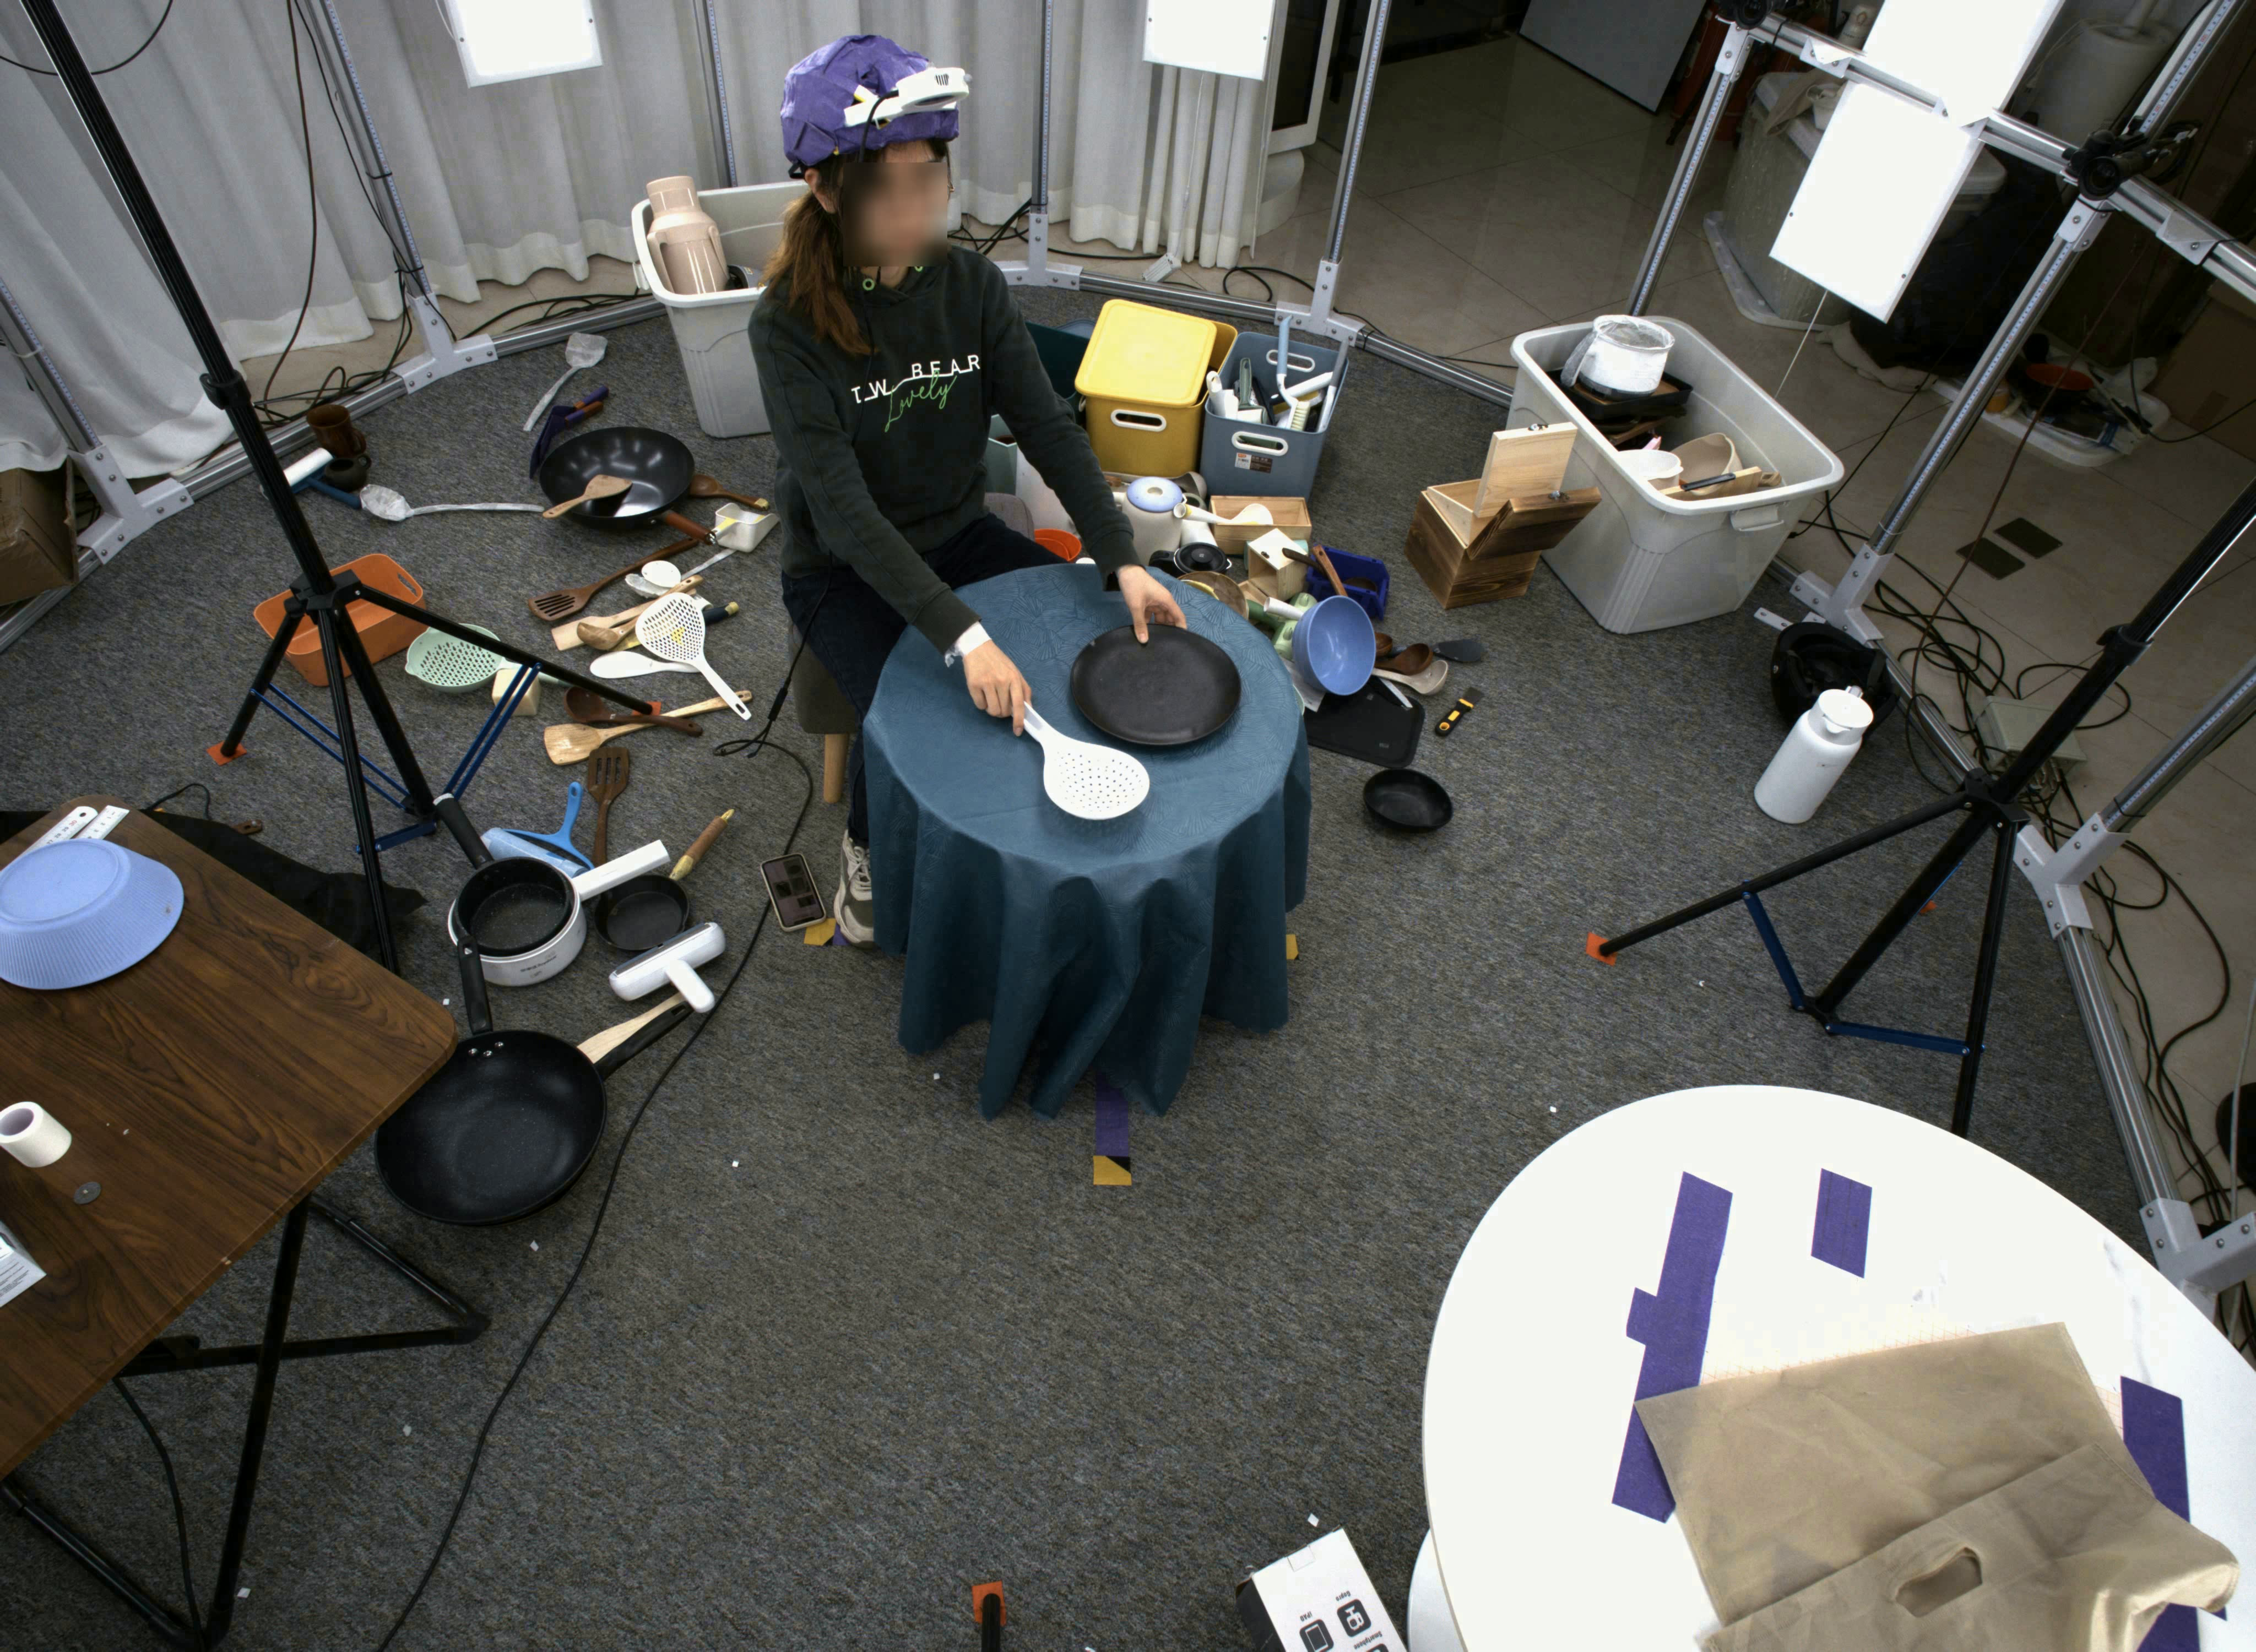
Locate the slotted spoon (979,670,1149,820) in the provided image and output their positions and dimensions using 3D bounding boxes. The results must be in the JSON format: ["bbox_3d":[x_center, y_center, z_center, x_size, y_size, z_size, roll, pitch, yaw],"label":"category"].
[{"bbox_3d":[-0.103,-0.116,1.748,0.136,0.044,0.356,-23,53,-27],"label":"slotted spoon"}]

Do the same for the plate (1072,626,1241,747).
[{"bbox_3d":[0.041,-0.198,1.844,0.244,0.023,0.250,2,49,-2],"label":"plate"}]
